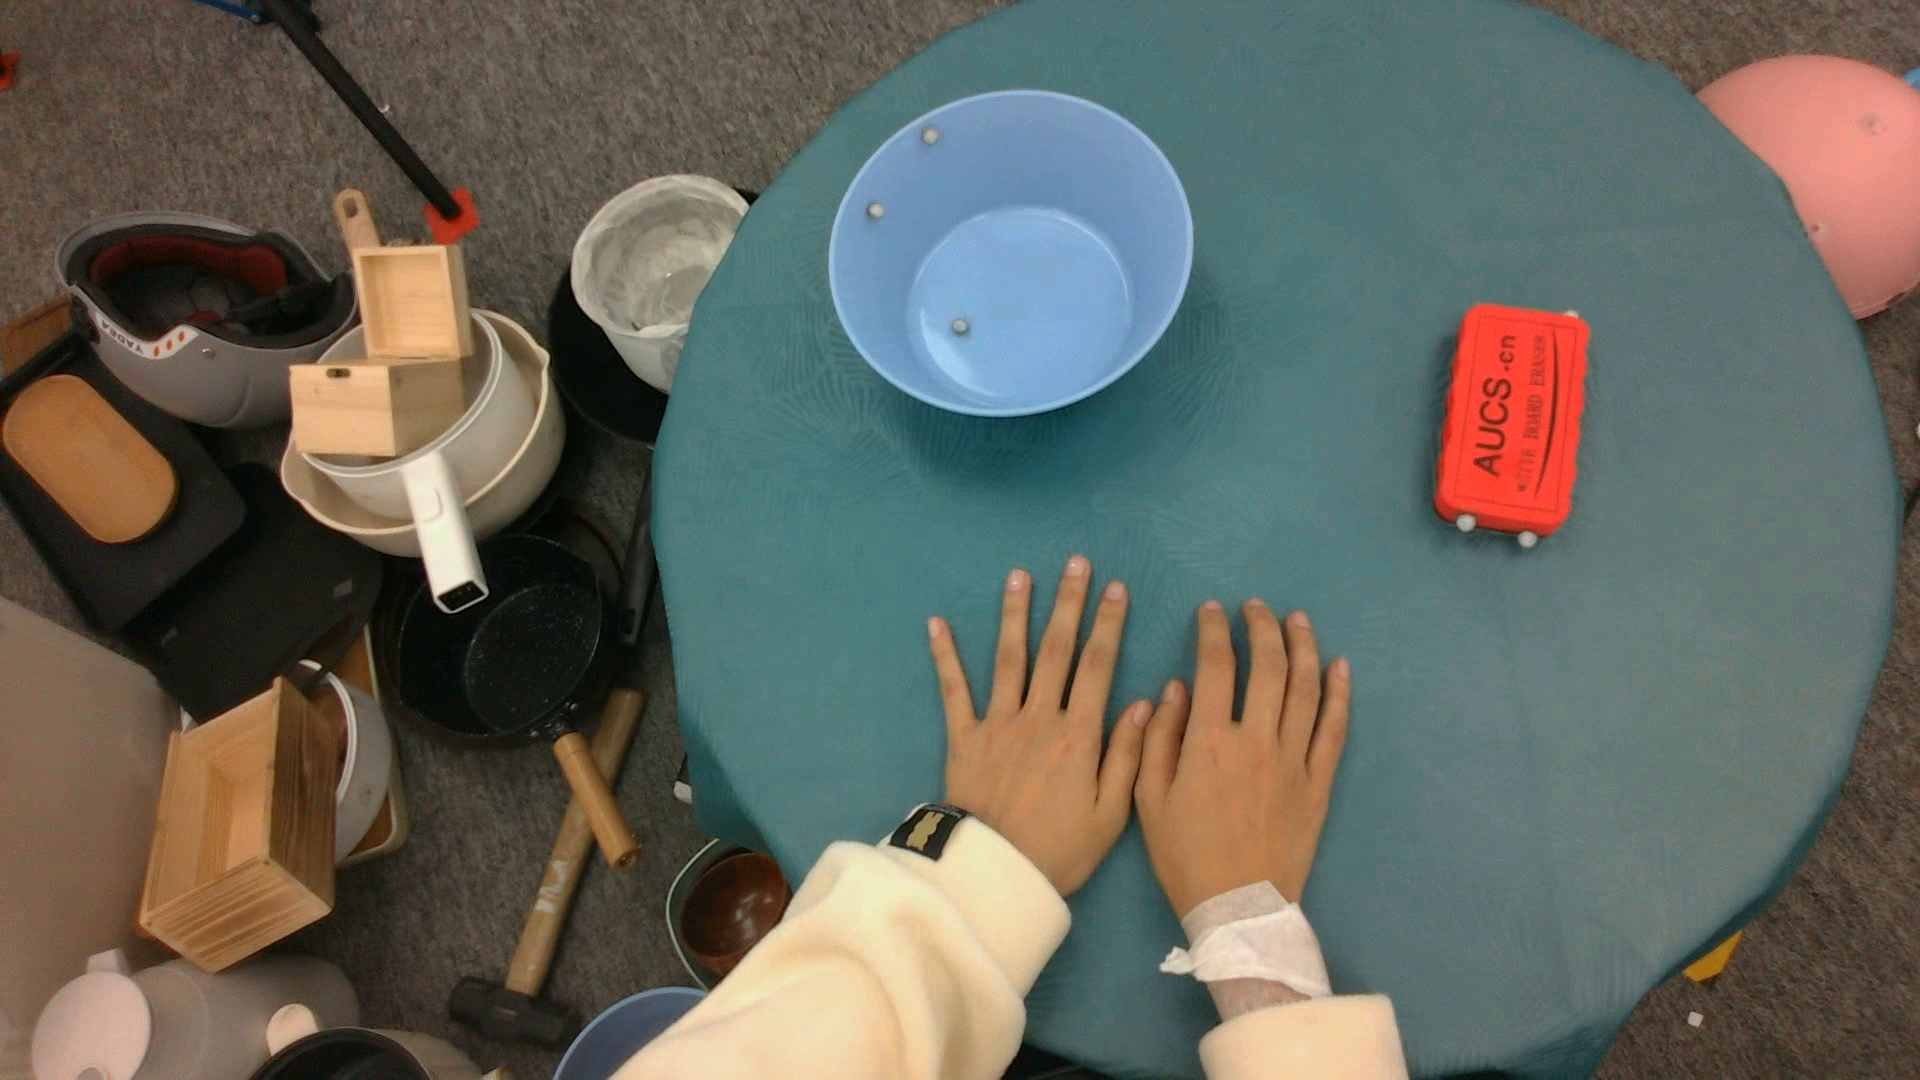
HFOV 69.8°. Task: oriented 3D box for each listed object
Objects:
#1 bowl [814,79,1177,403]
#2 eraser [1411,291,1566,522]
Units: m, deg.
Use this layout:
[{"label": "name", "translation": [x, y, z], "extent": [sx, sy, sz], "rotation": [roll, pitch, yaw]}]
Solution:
[{"label": "bowl", "translation": [0.019, -0.137, 0.687], "extent": [0.176, 0.070, 0.176], "rotation": [-2, 71, 6]}, {"label": "eraser", "translation": [0.254, -0.065, 0.661], "extent": [0.059, 0.023, 0.108], "rotation": [12, 73, 8]}]
